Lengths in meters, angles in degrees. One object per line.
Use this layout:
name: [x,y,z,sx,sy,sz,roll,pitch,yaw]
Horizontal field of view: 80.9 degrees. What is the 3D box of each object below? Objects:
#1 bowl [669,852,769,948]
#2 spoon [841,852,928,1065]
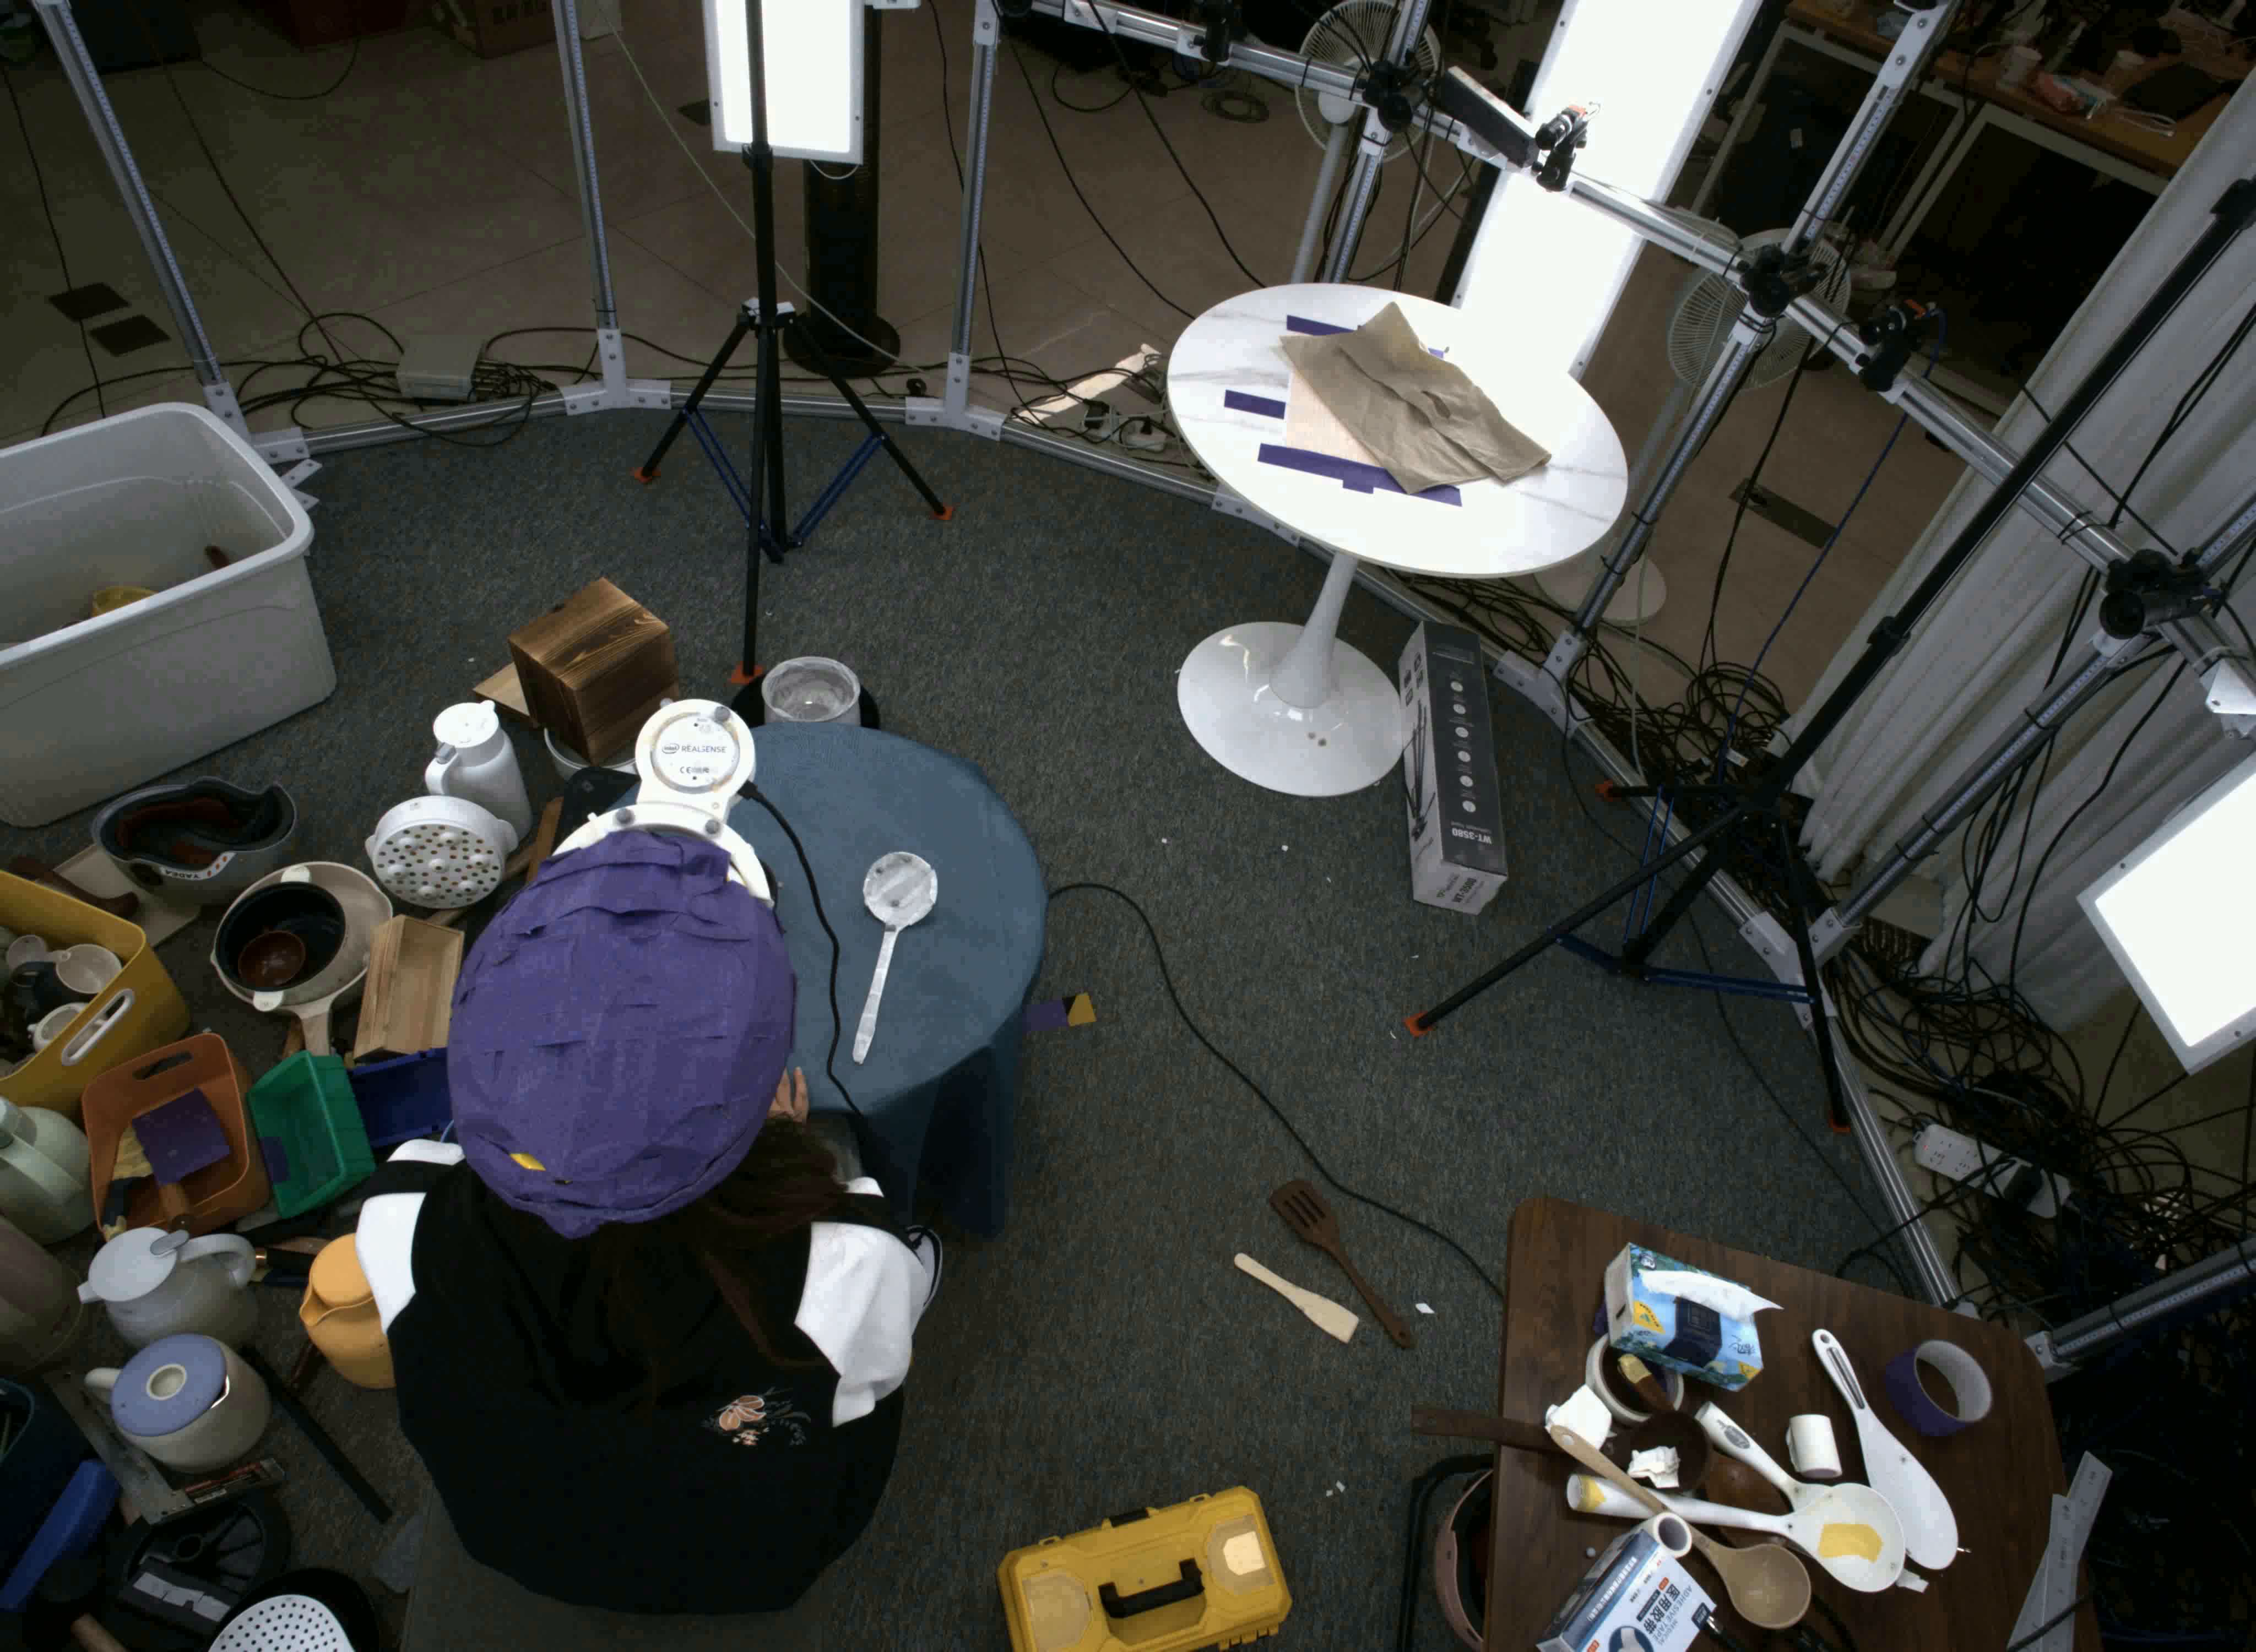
bowl: [-0.498,0.096,1.580,0.118,0.071,0.116,7,52,-8]
spoon: [-0.317,0.155,1.594,0.100,0.061,0.273,11,52,-1]
